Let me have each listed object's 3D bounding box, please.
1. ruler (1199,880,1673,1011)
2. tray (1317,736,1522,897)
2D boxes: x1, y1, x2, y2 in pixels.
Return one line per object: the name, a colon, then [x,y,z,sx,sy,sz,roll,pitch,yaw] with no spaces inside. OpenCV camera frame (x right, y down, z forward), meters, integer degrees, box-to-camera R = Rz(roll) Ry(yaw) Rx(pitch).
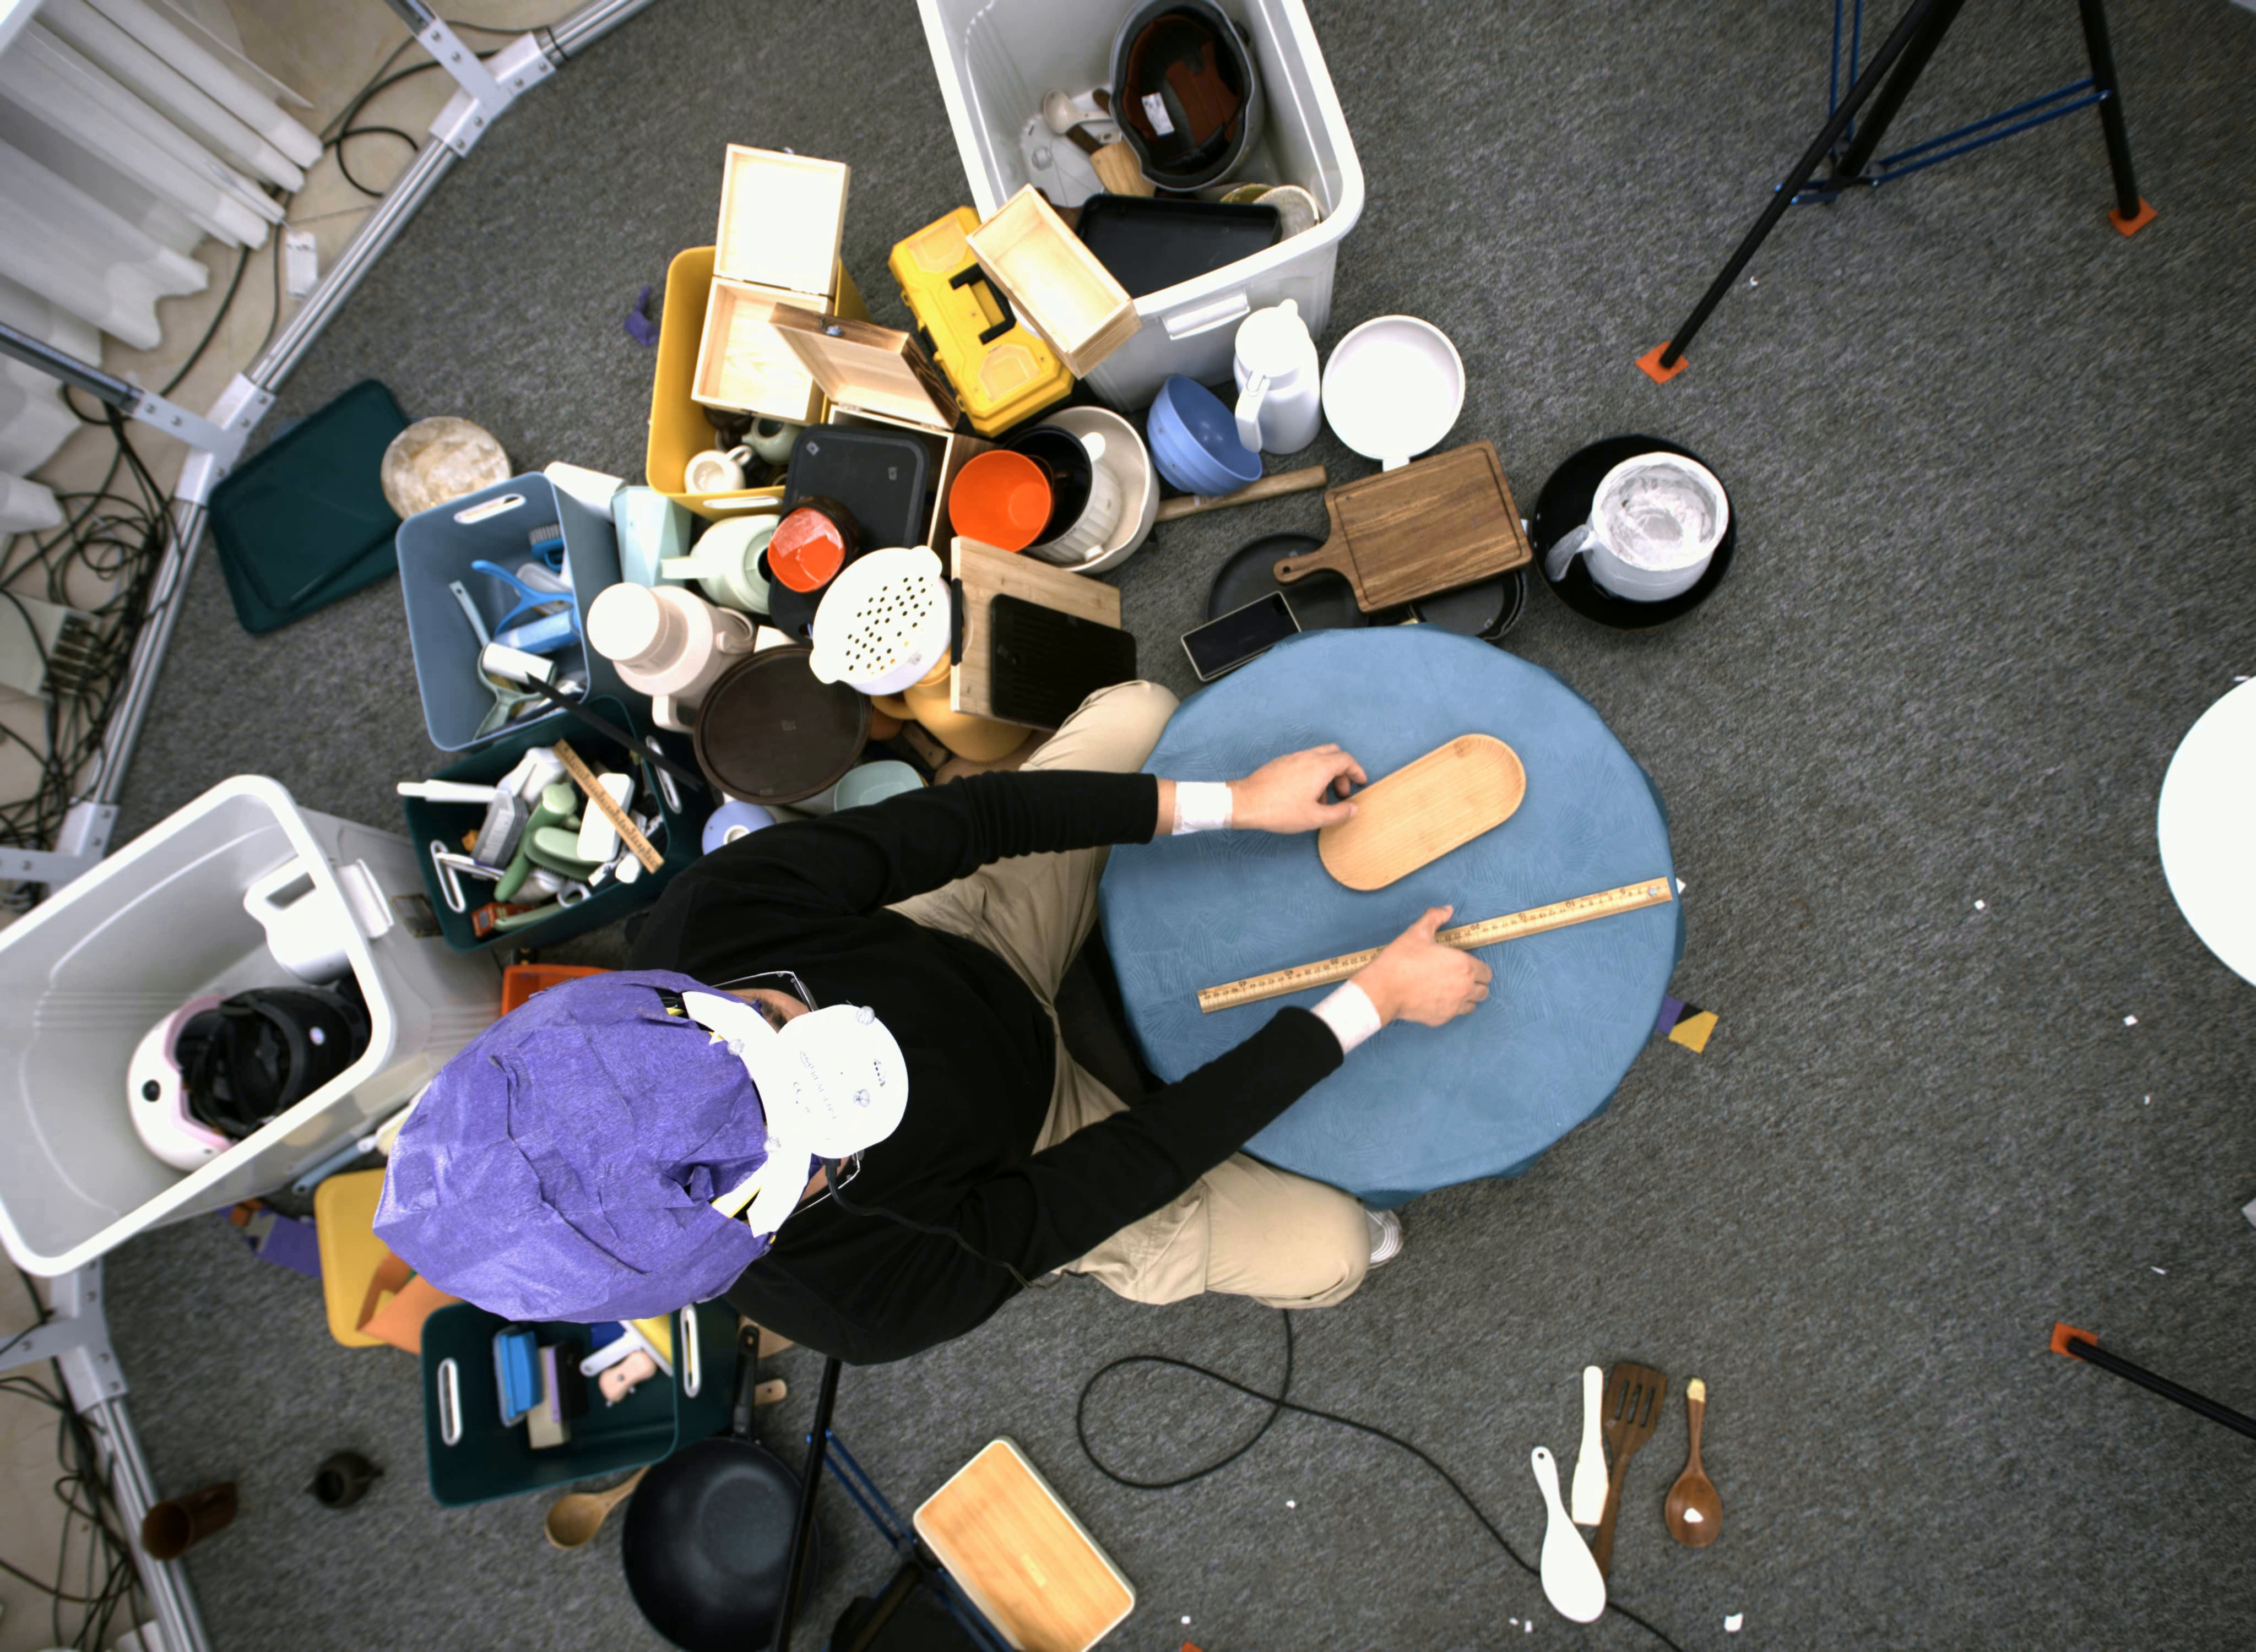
ruler: [0.317,0.124,1.446,0.503,0.006,0.026,-14,83,10]
tray: [0.306,-0.011,1.450,0.233,0.020,0.101,-32,80,9]
